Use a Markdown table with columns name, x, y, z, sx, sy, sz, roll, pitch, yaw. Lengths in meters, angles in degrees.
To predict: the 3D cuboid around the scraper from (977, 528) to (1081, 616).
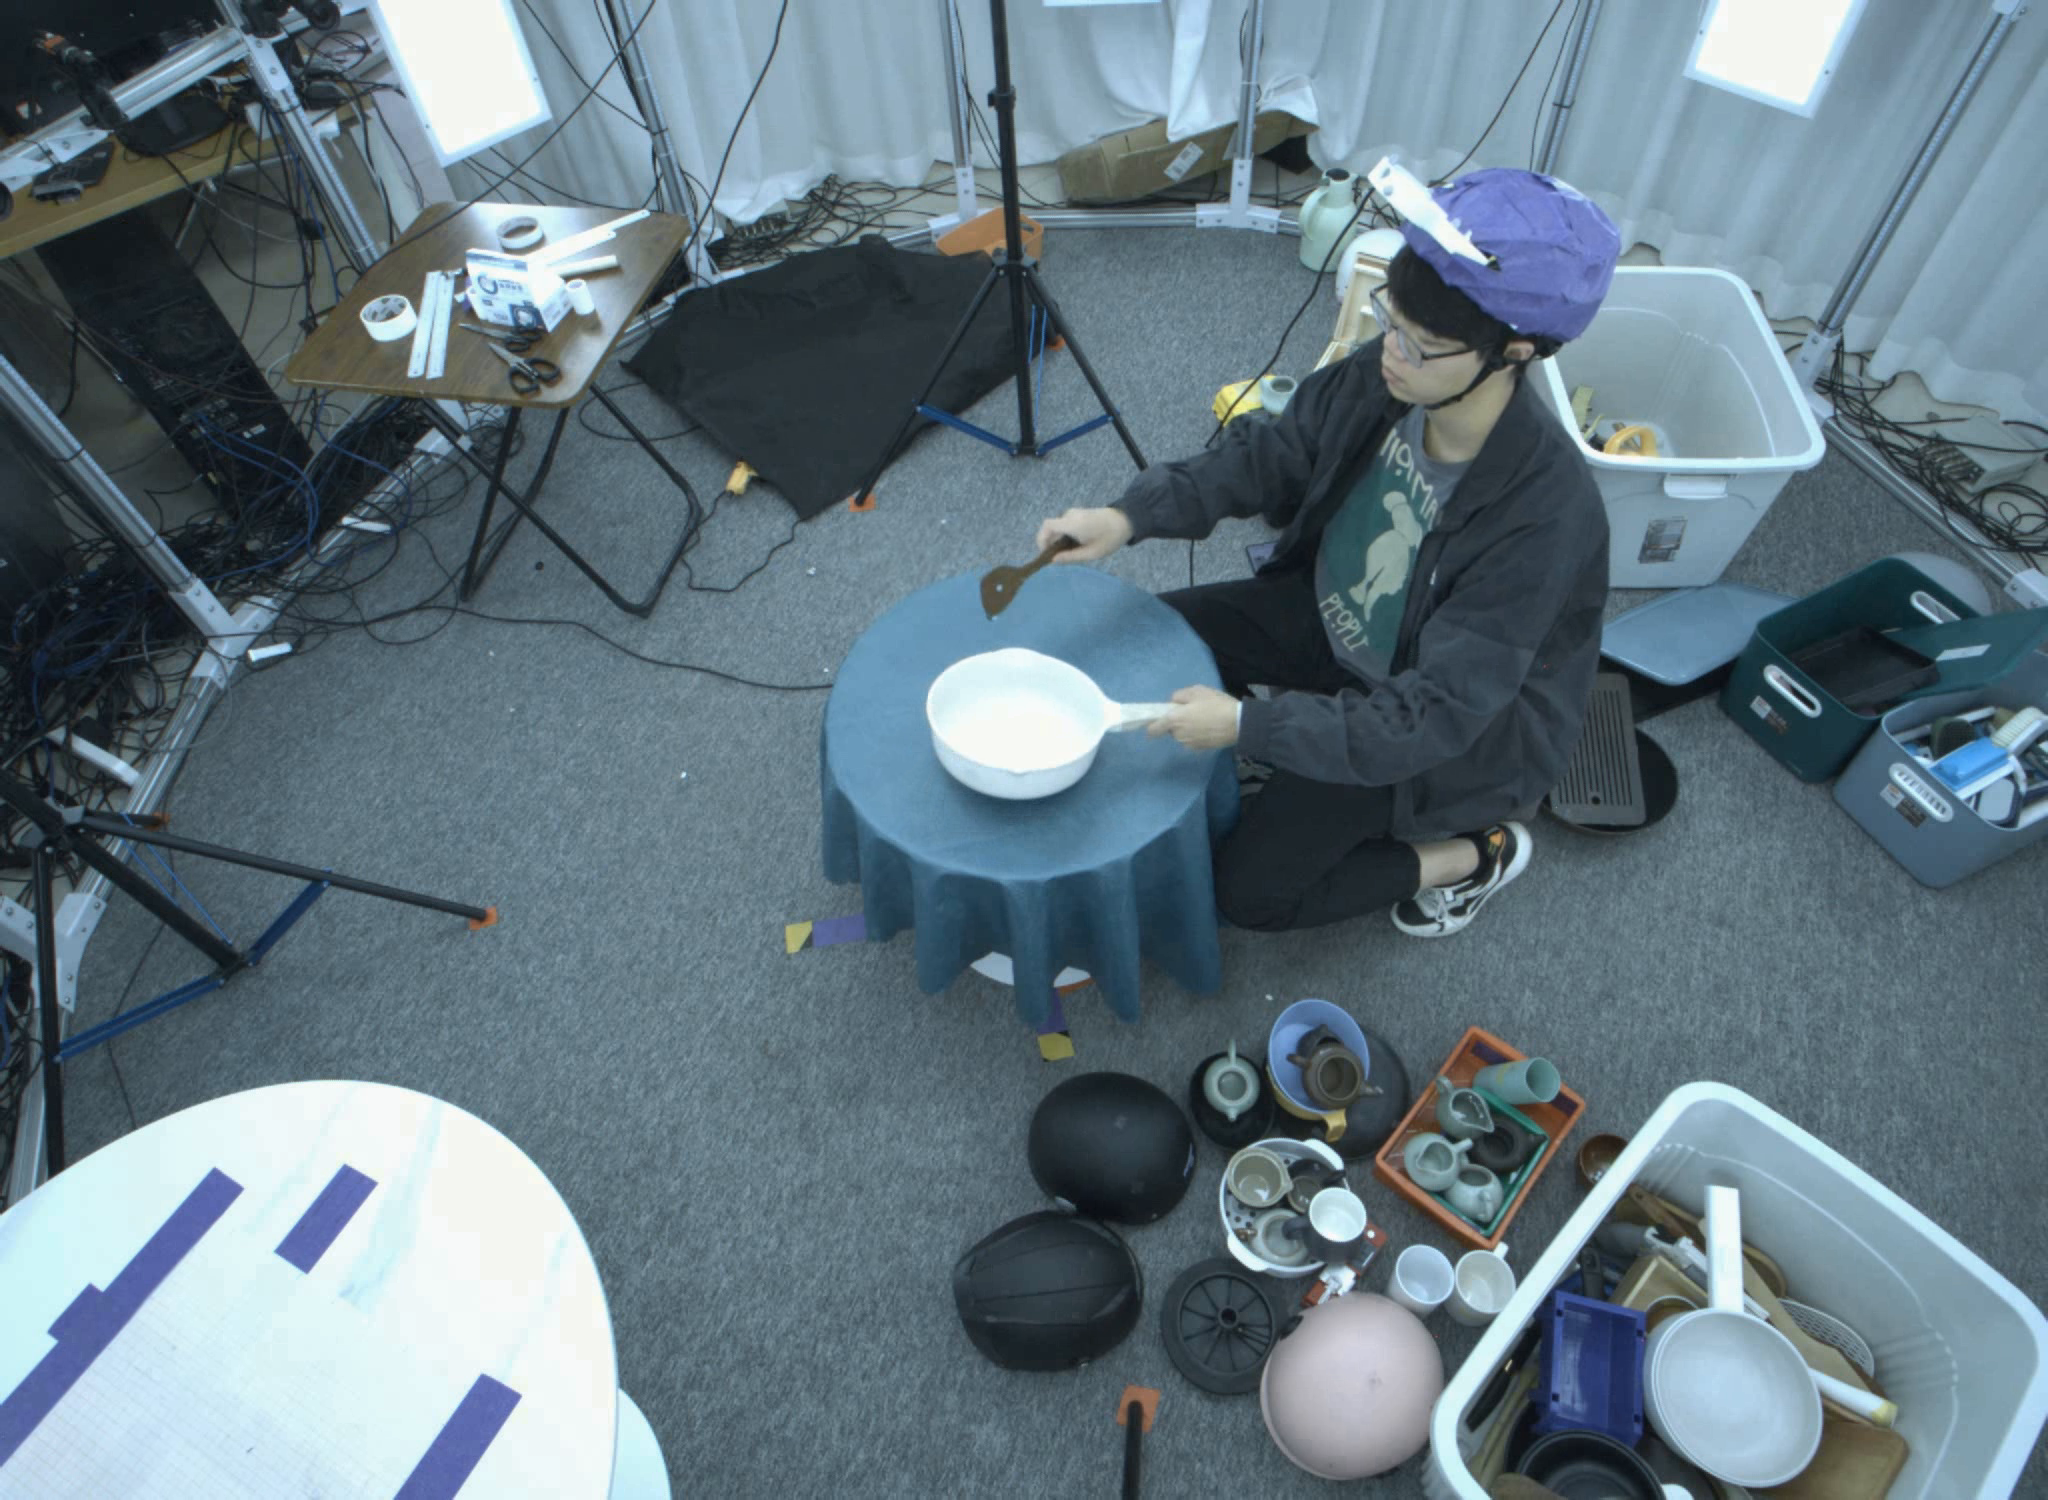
| name | x | y | z | sx | sy | sz | roll | pitch | yaw |
| --- | --- | --- | --- | --- | --- | --- | --- | --- | --- |
| scraper | 0.008 | -0.270 | 1.785 | 0.010 | 0.077 | 0.213 | 28 | 51 | 37 |

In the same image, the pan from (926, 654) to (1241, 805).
| name | x | y | z | sx | sy | sz | roll | pitch | yaw |
| --- | --- | --- | --- | --- | --- | --- | --- | --- | --- |
| pan | 0.081 | -0.025 | 1.718 | 0.437 | 0.103 | 0.260 | 2 | 42 | -5 |
